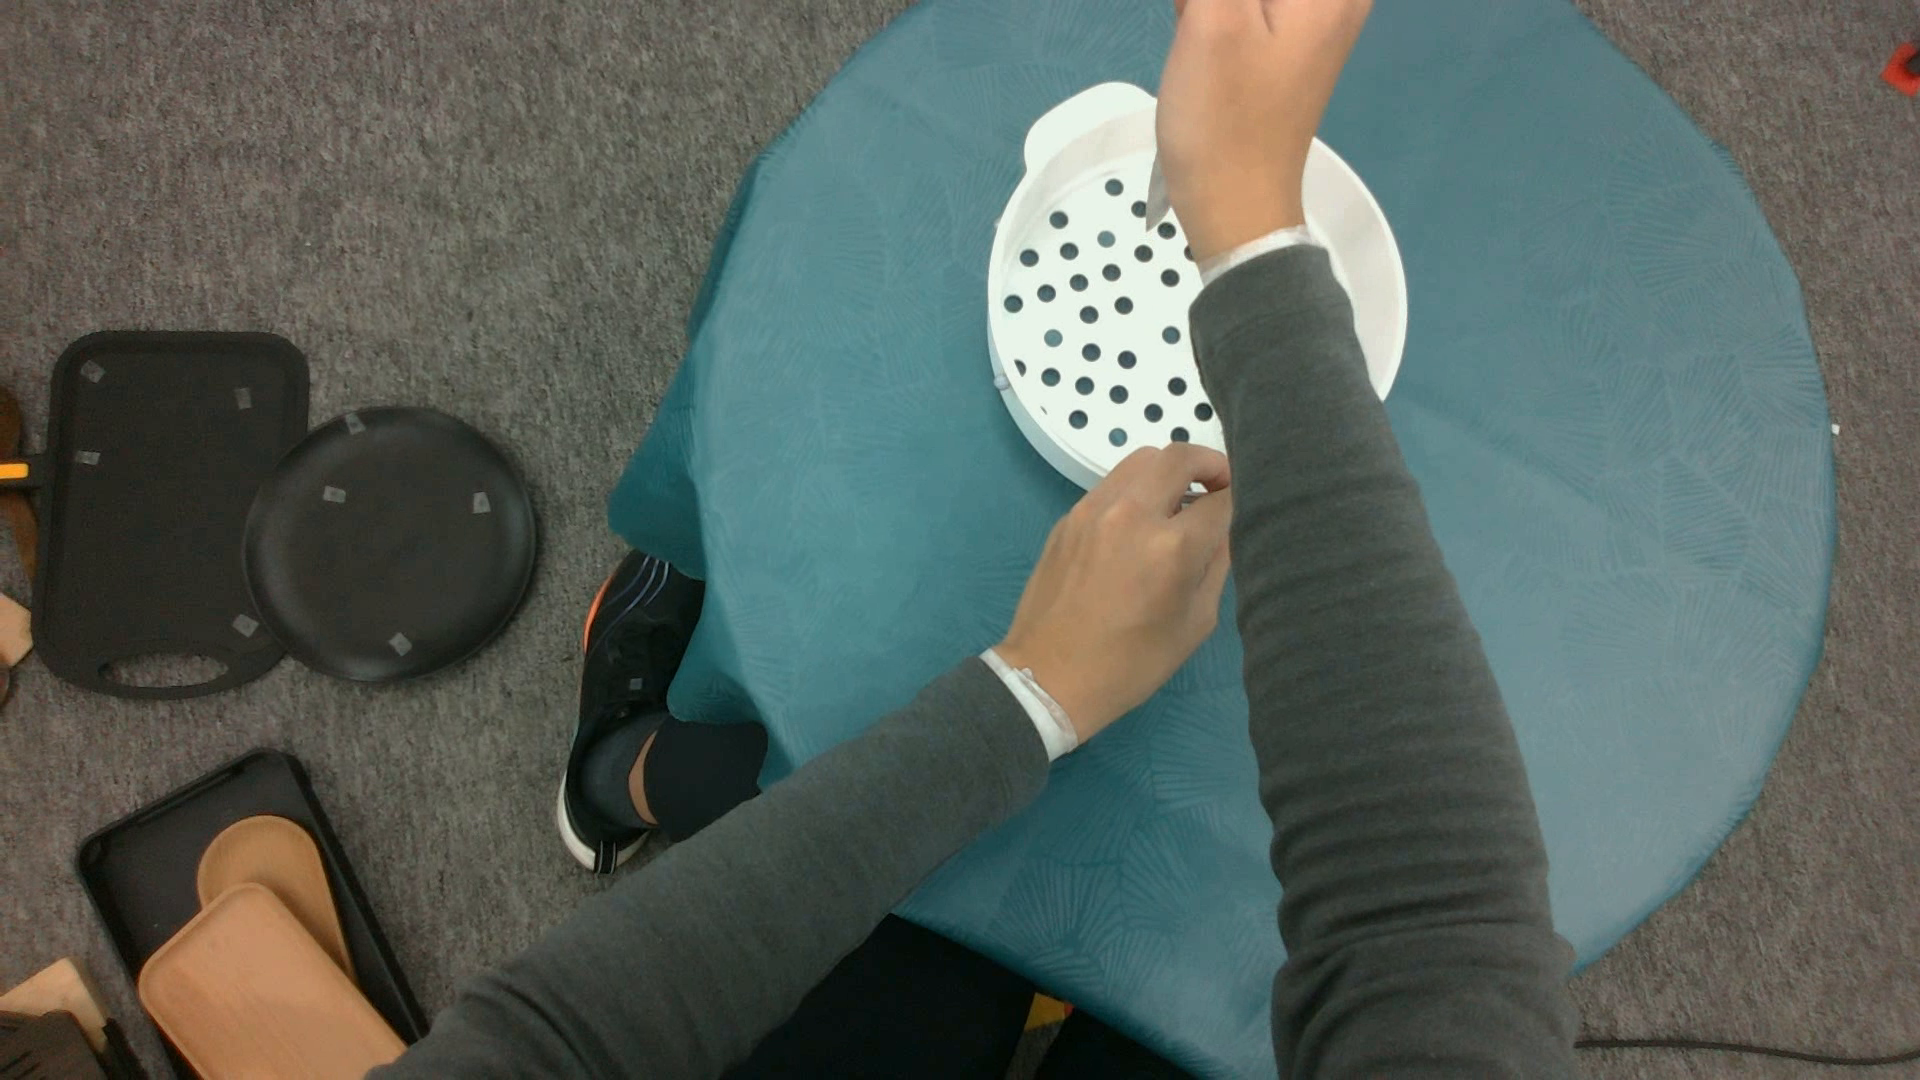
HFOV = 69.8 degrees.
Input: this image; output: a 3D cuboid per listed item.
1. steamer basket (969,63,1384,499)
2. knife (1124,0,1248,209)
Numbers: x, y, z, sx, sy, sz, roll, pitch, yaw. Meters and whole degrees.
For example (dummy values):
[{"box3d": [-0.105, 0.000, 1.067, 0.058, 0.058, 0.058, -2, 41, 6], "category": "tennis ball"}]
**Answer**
[{"box3d": [0.102, -0.122, 0.683, 0.202, 0.069, 0.230, -31, 85, -9], "category": "steamer basket"}, {"box3d": [0.092, -0.187, 0.572, 0.016, 0.237, 0.024, -21, 81, -7], "category": "knife"}]
